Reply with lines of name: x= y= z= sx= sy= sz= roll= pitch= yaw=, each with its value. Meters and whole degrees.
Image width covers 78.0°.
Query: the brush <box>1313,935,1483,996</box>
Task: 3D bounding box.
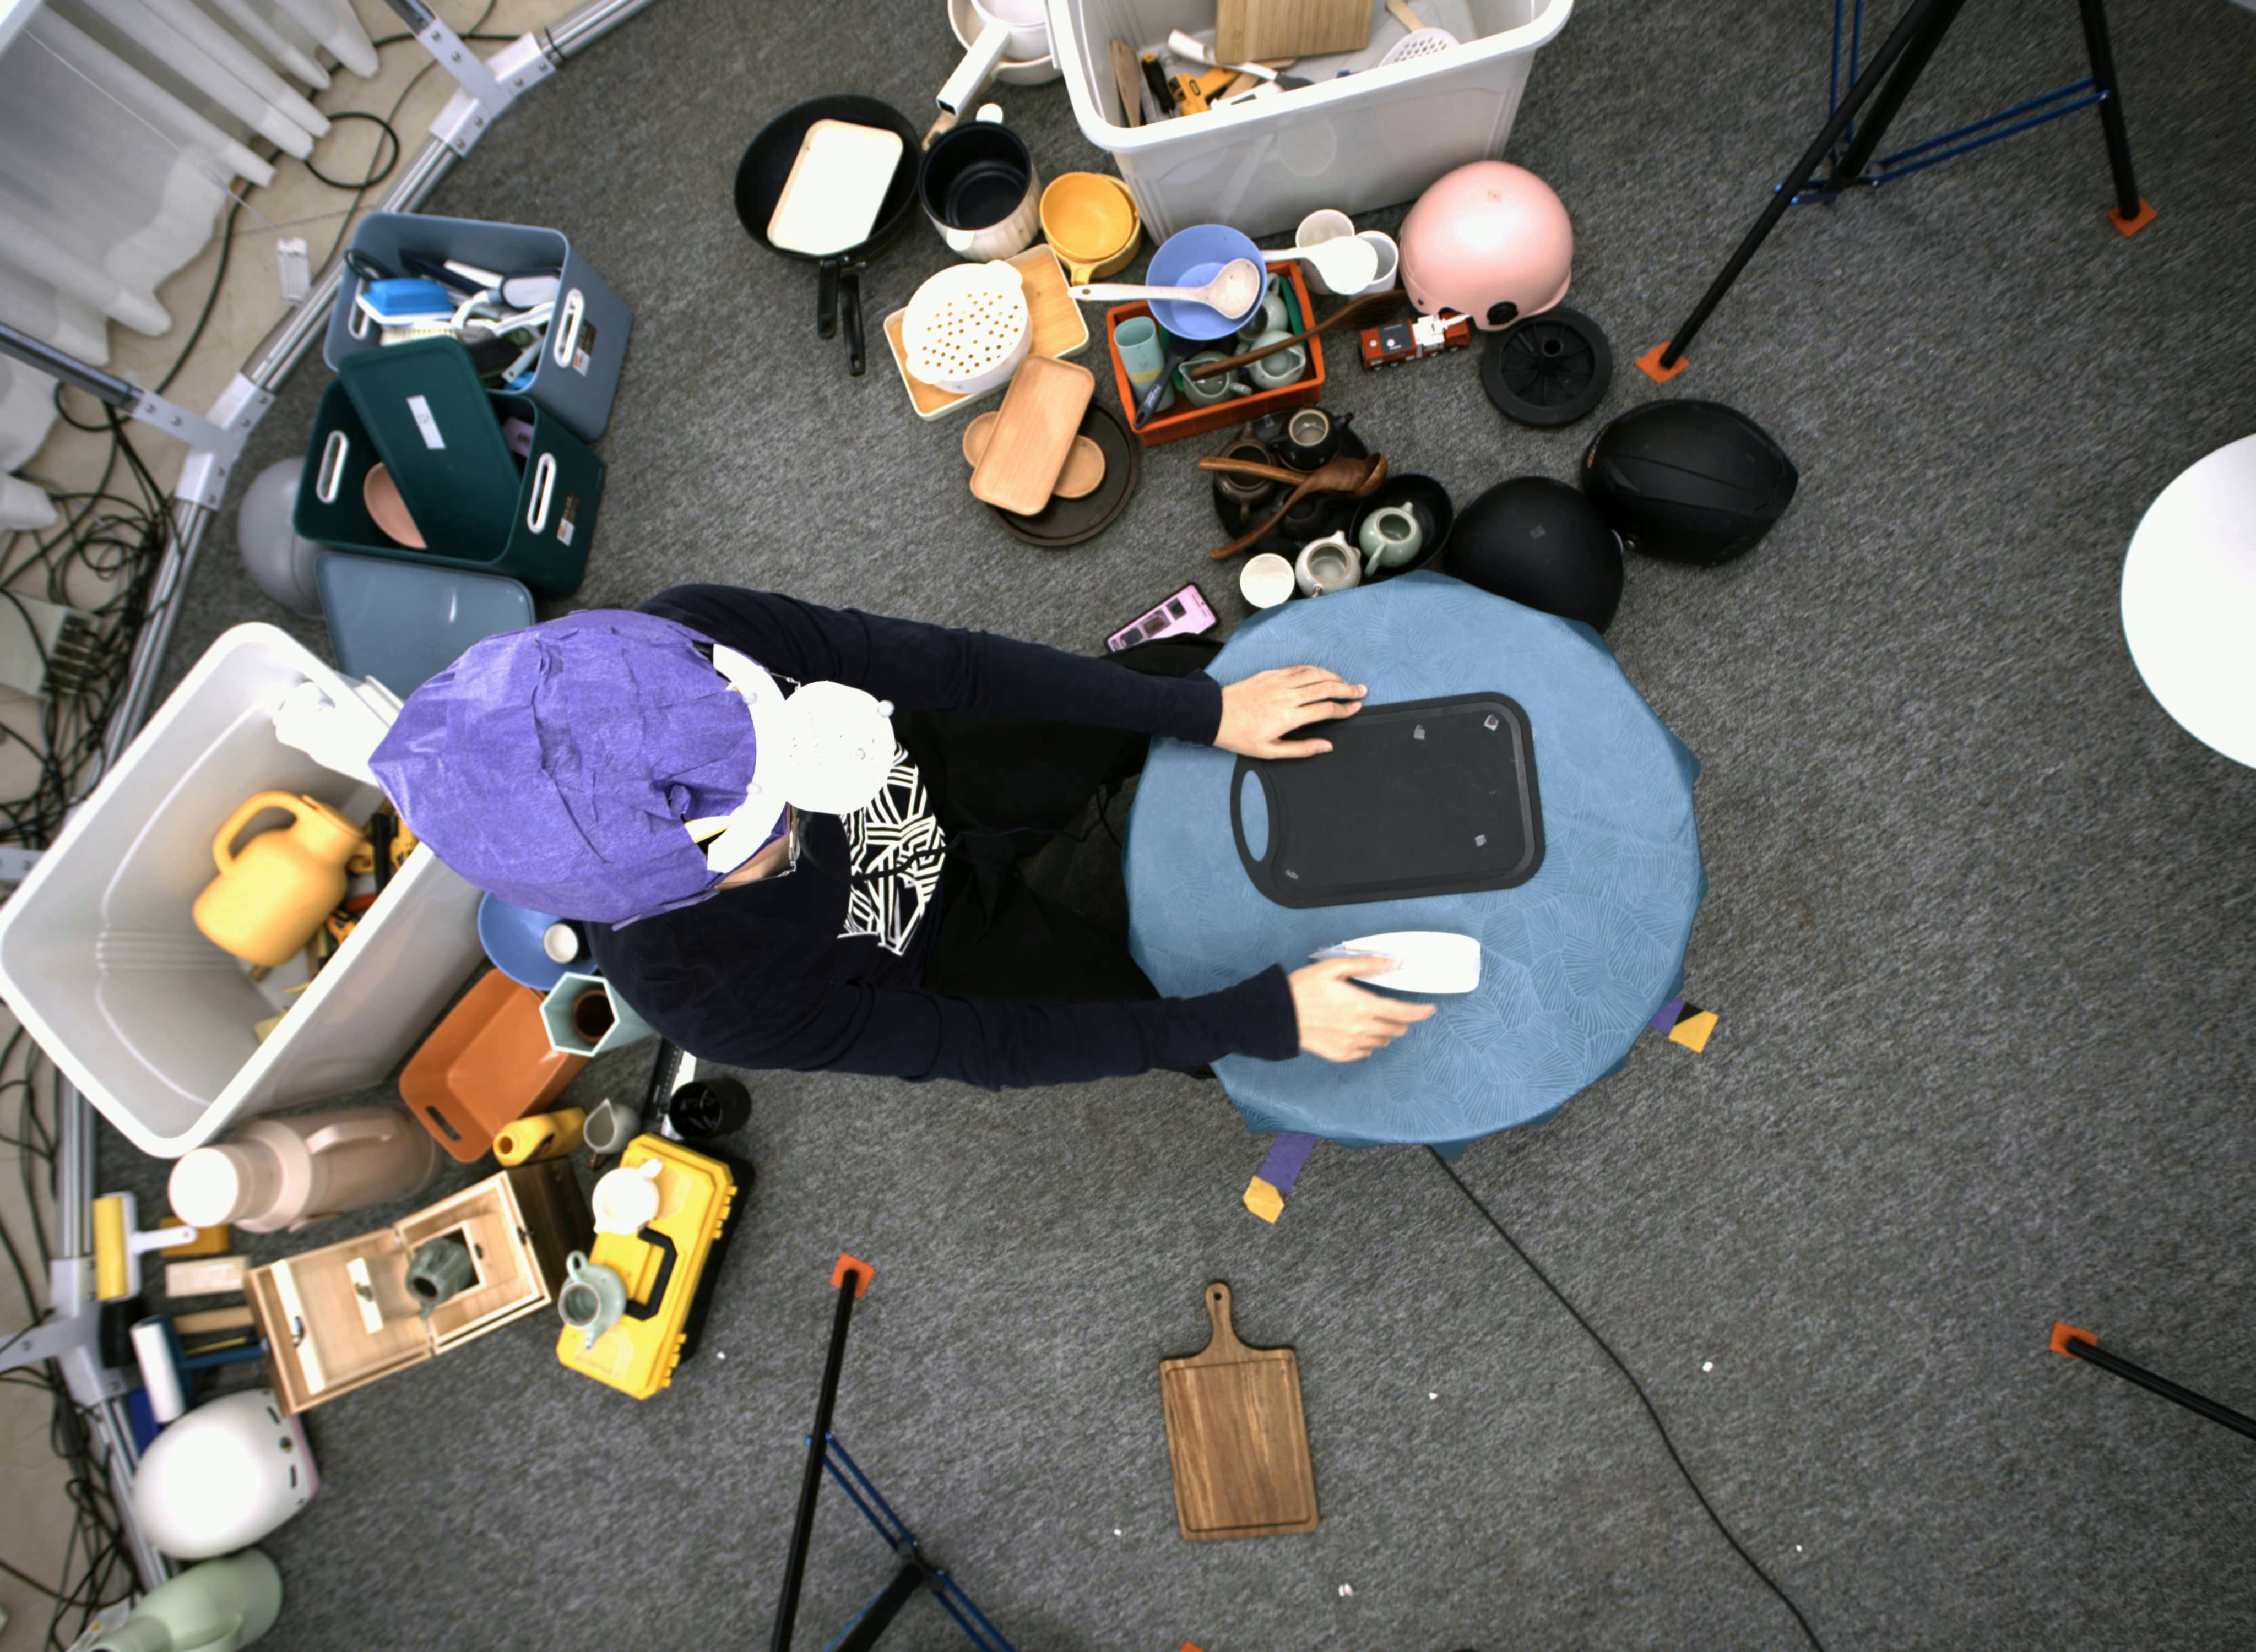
brush: x=0.274 y=0.138 z=1.408 sx=0.176 sy=0.094 sz=0.061 roll=1 pitch=83 yaw=13

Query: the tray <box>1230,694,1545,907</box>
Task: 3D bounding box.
tray: x=0.270 y=-0.027 z=1.460 sx=0.327 sy=0.010 sz=0.210 roll=-5 pitch=86 yaw=11
